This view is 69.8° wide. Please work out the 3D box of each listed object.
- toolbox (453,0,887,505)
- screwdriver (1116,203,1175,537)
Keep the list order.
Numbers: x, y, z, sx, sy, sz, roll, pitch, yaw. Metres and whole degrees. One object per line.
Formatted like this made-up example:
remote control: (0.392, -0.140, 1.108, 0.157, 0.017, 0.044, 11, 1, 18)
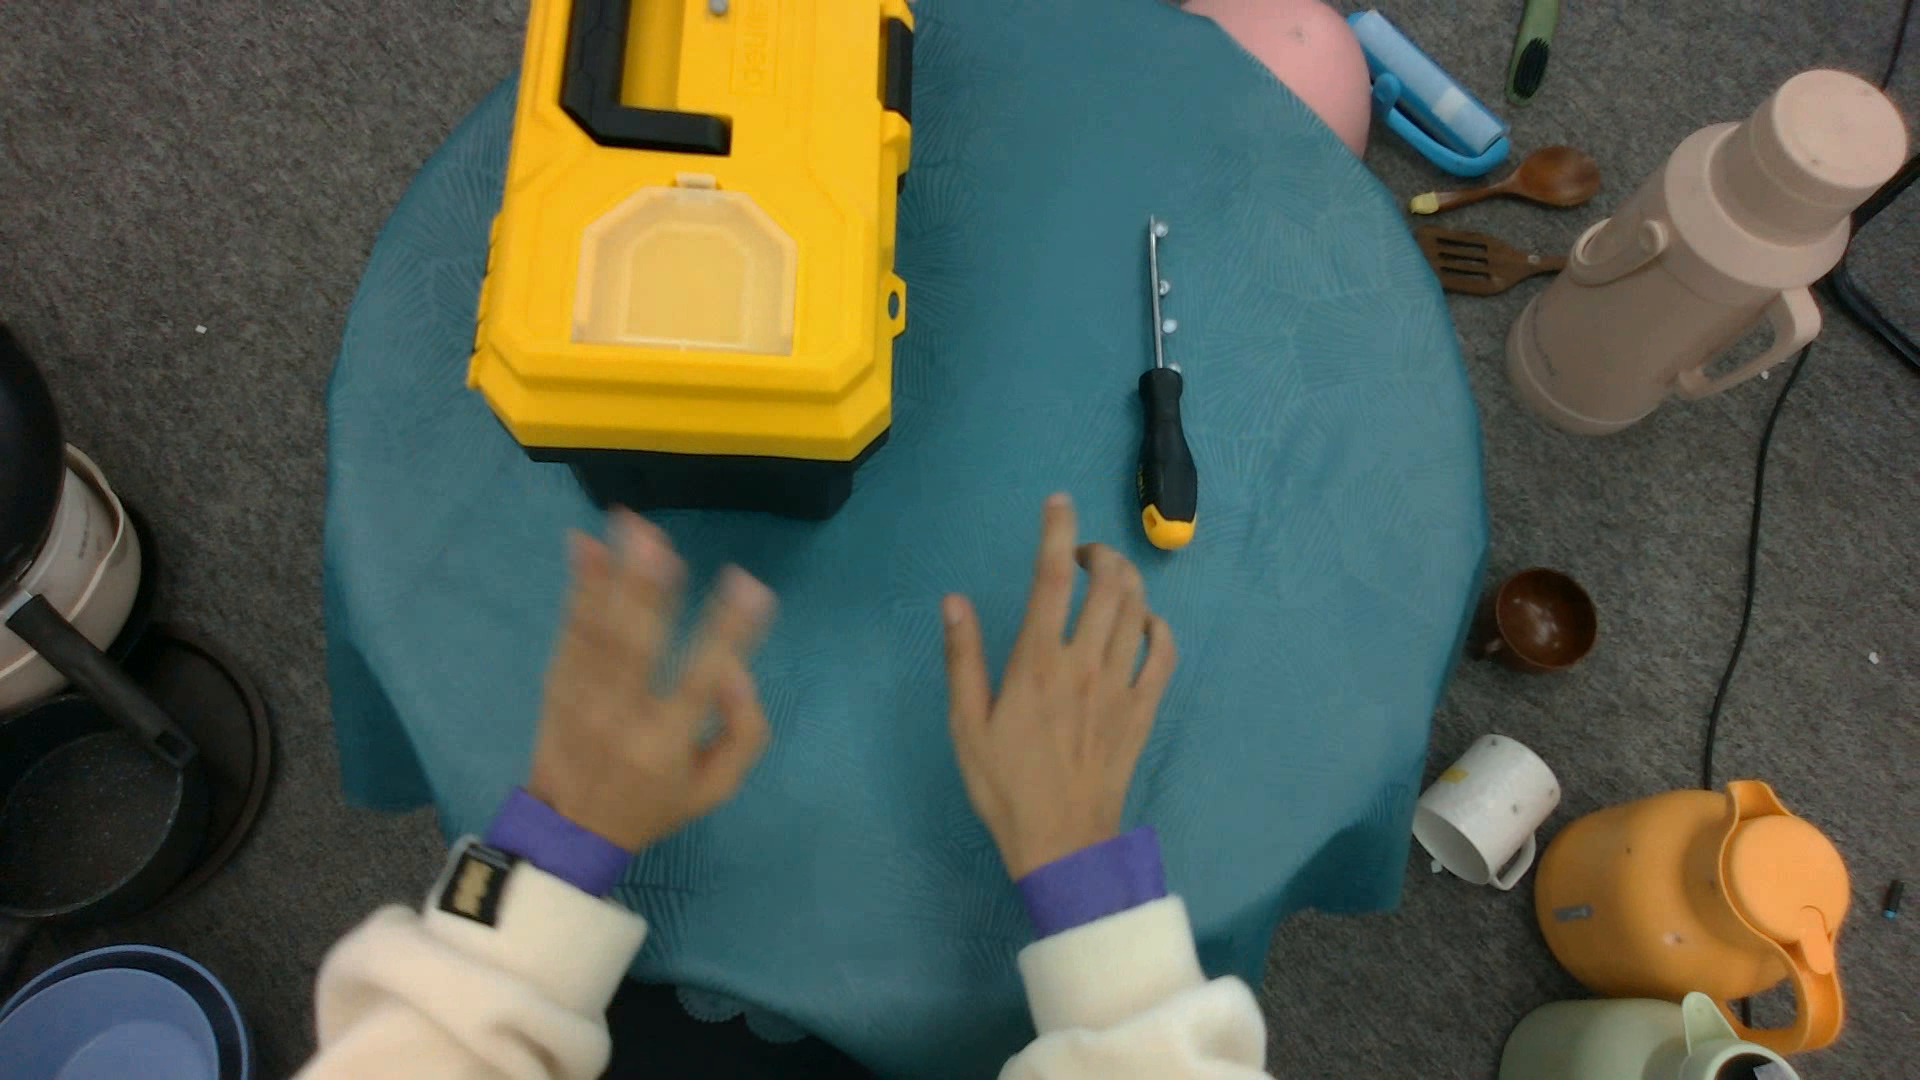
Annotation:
toolbox: (-0.124, -0.195, 0.660, 0.181, 0.172, 0.352, 2, 70, -6)
screwdriver: (0.096, -0.094, 0.737, 0.031, 0.031, 0.198, 2, 66, -5)
